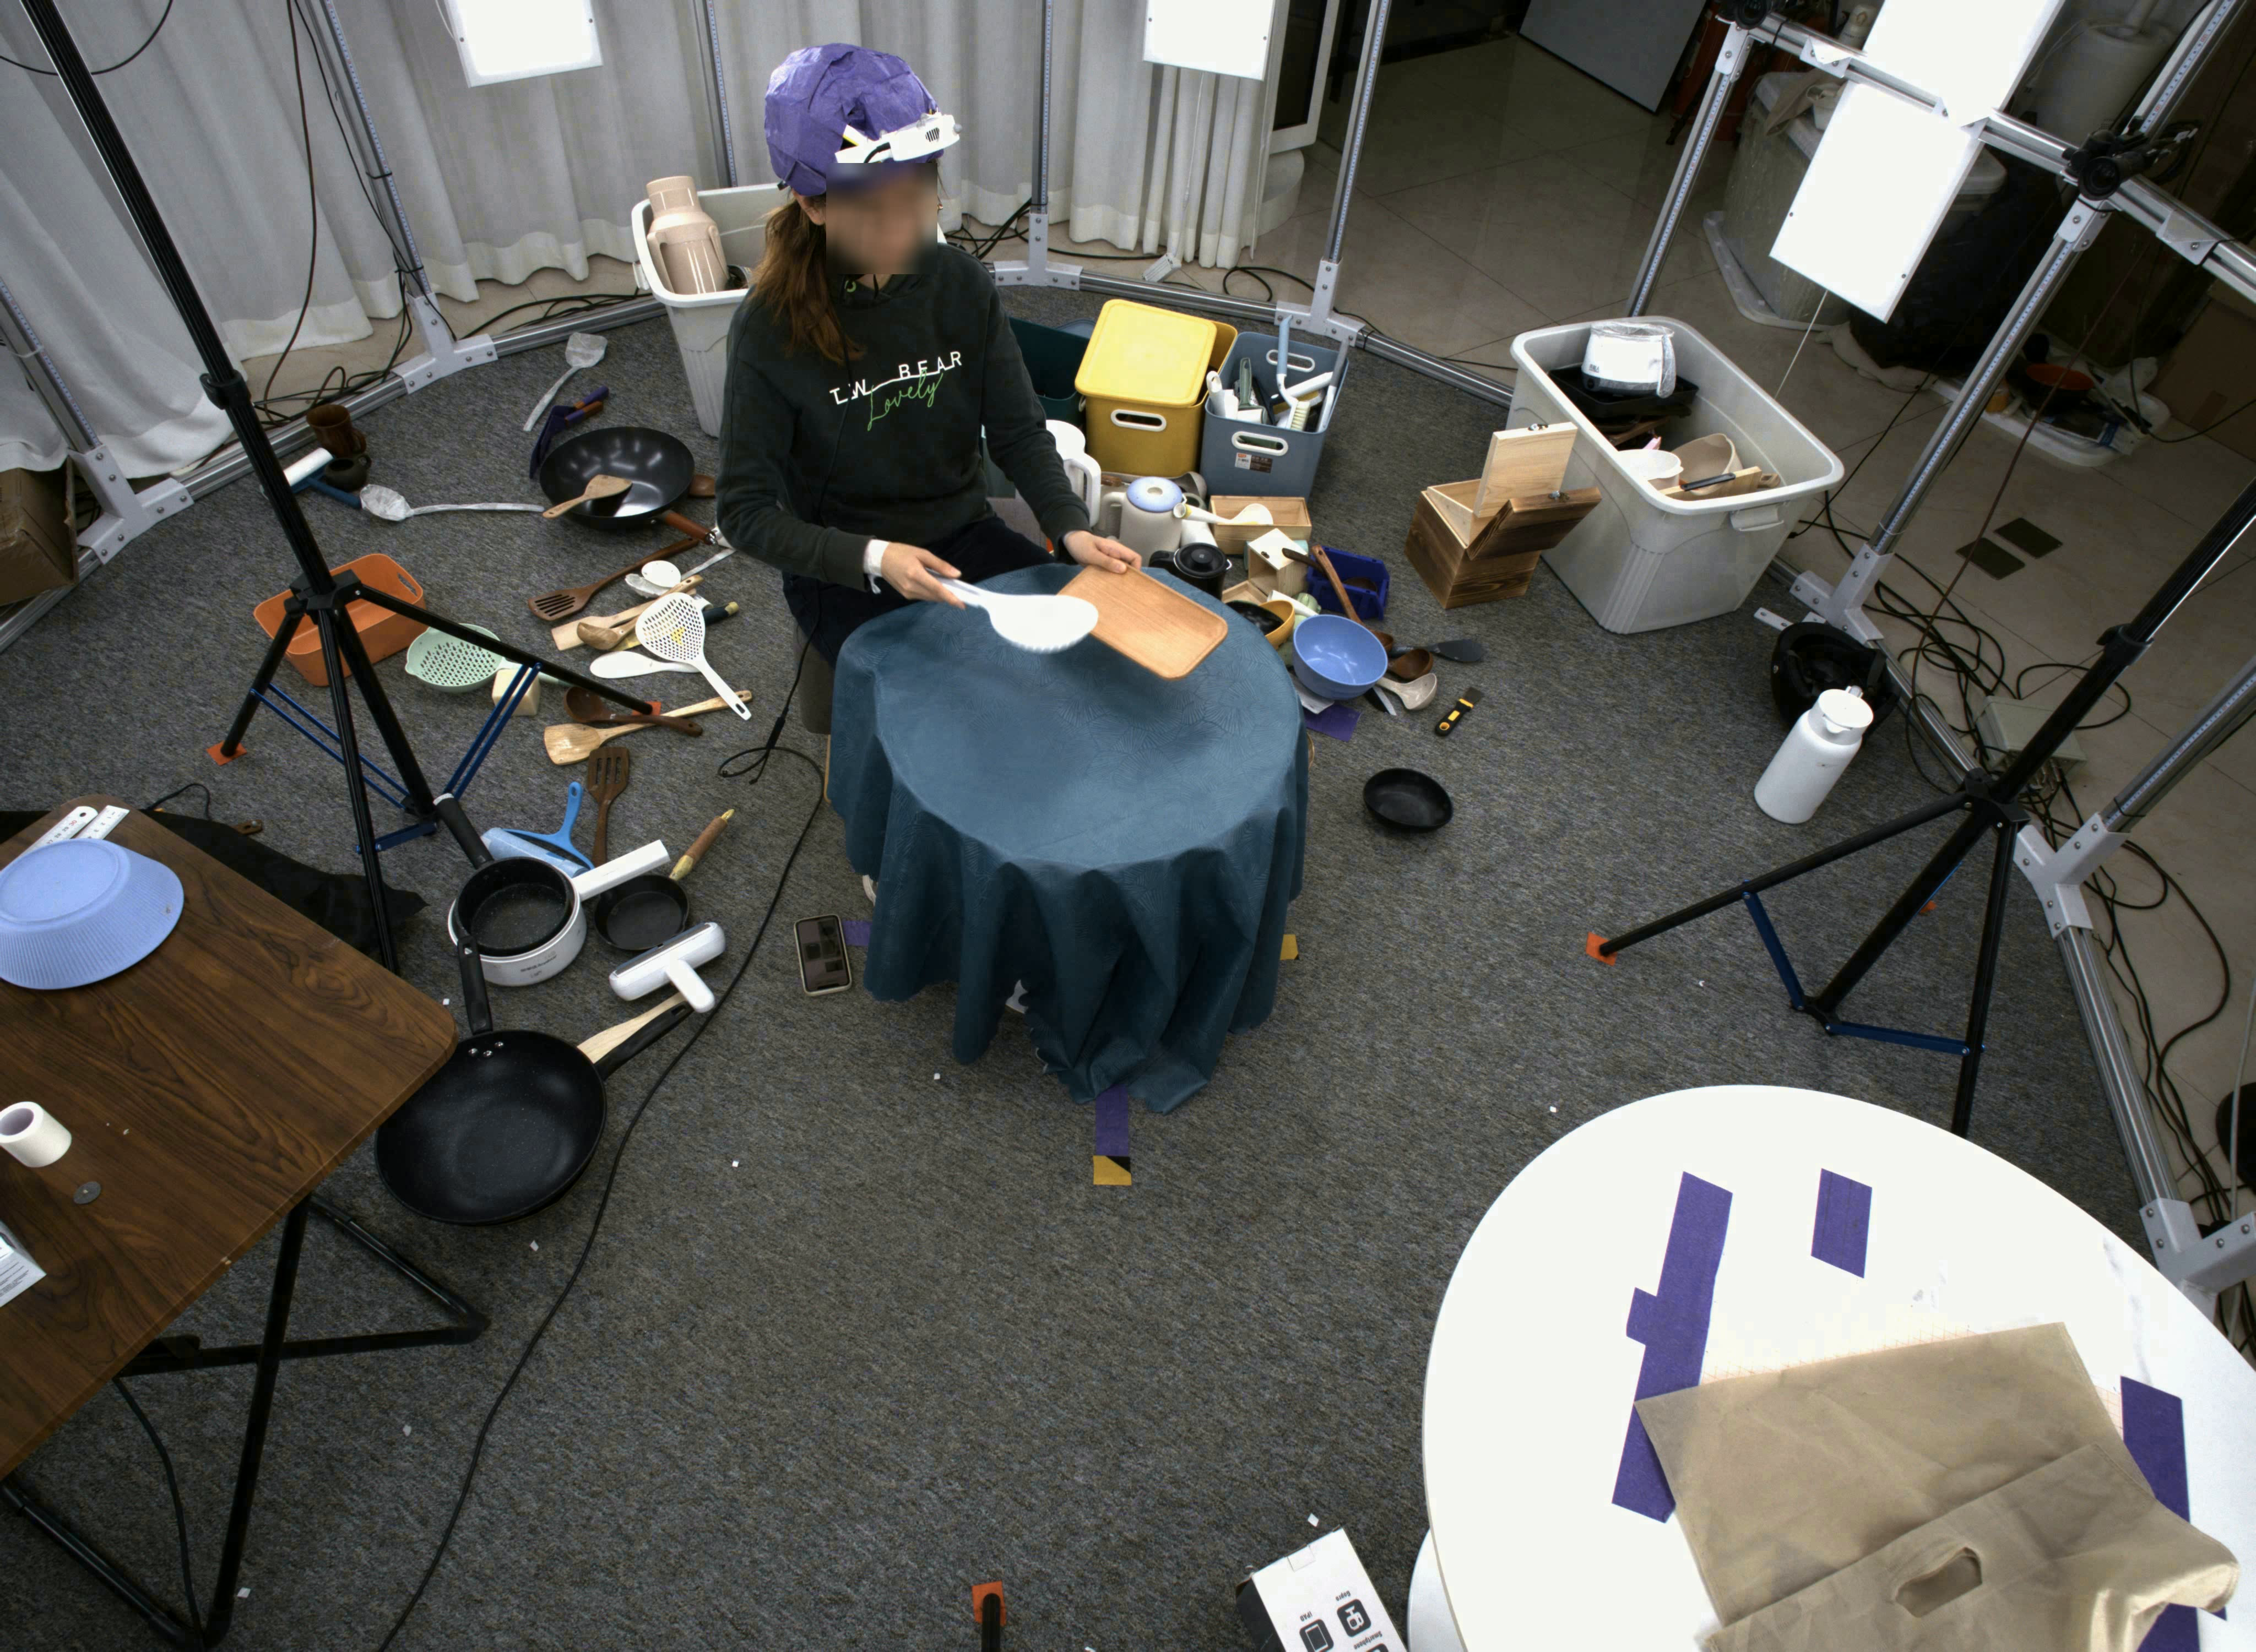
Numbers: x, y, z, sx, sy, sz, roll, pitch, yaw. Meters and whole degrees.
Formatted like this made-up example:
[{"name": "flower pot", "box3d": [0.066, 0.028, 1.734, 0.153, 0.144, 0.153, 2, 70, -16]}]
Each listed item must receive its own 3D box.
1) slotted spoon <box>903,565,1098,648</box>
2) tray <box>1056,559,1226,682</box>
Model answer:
[{"name": "slotted spoon", "box3d": [-0.187, -0.309, 1.767, 0.355, 0.045, 0.137, 29, 42, 33]}, {"name": "tray", "box3d": [0.015, -0.292, 1.817, 0.254, 0.022, 0.132, 35, 66, 31]}]
